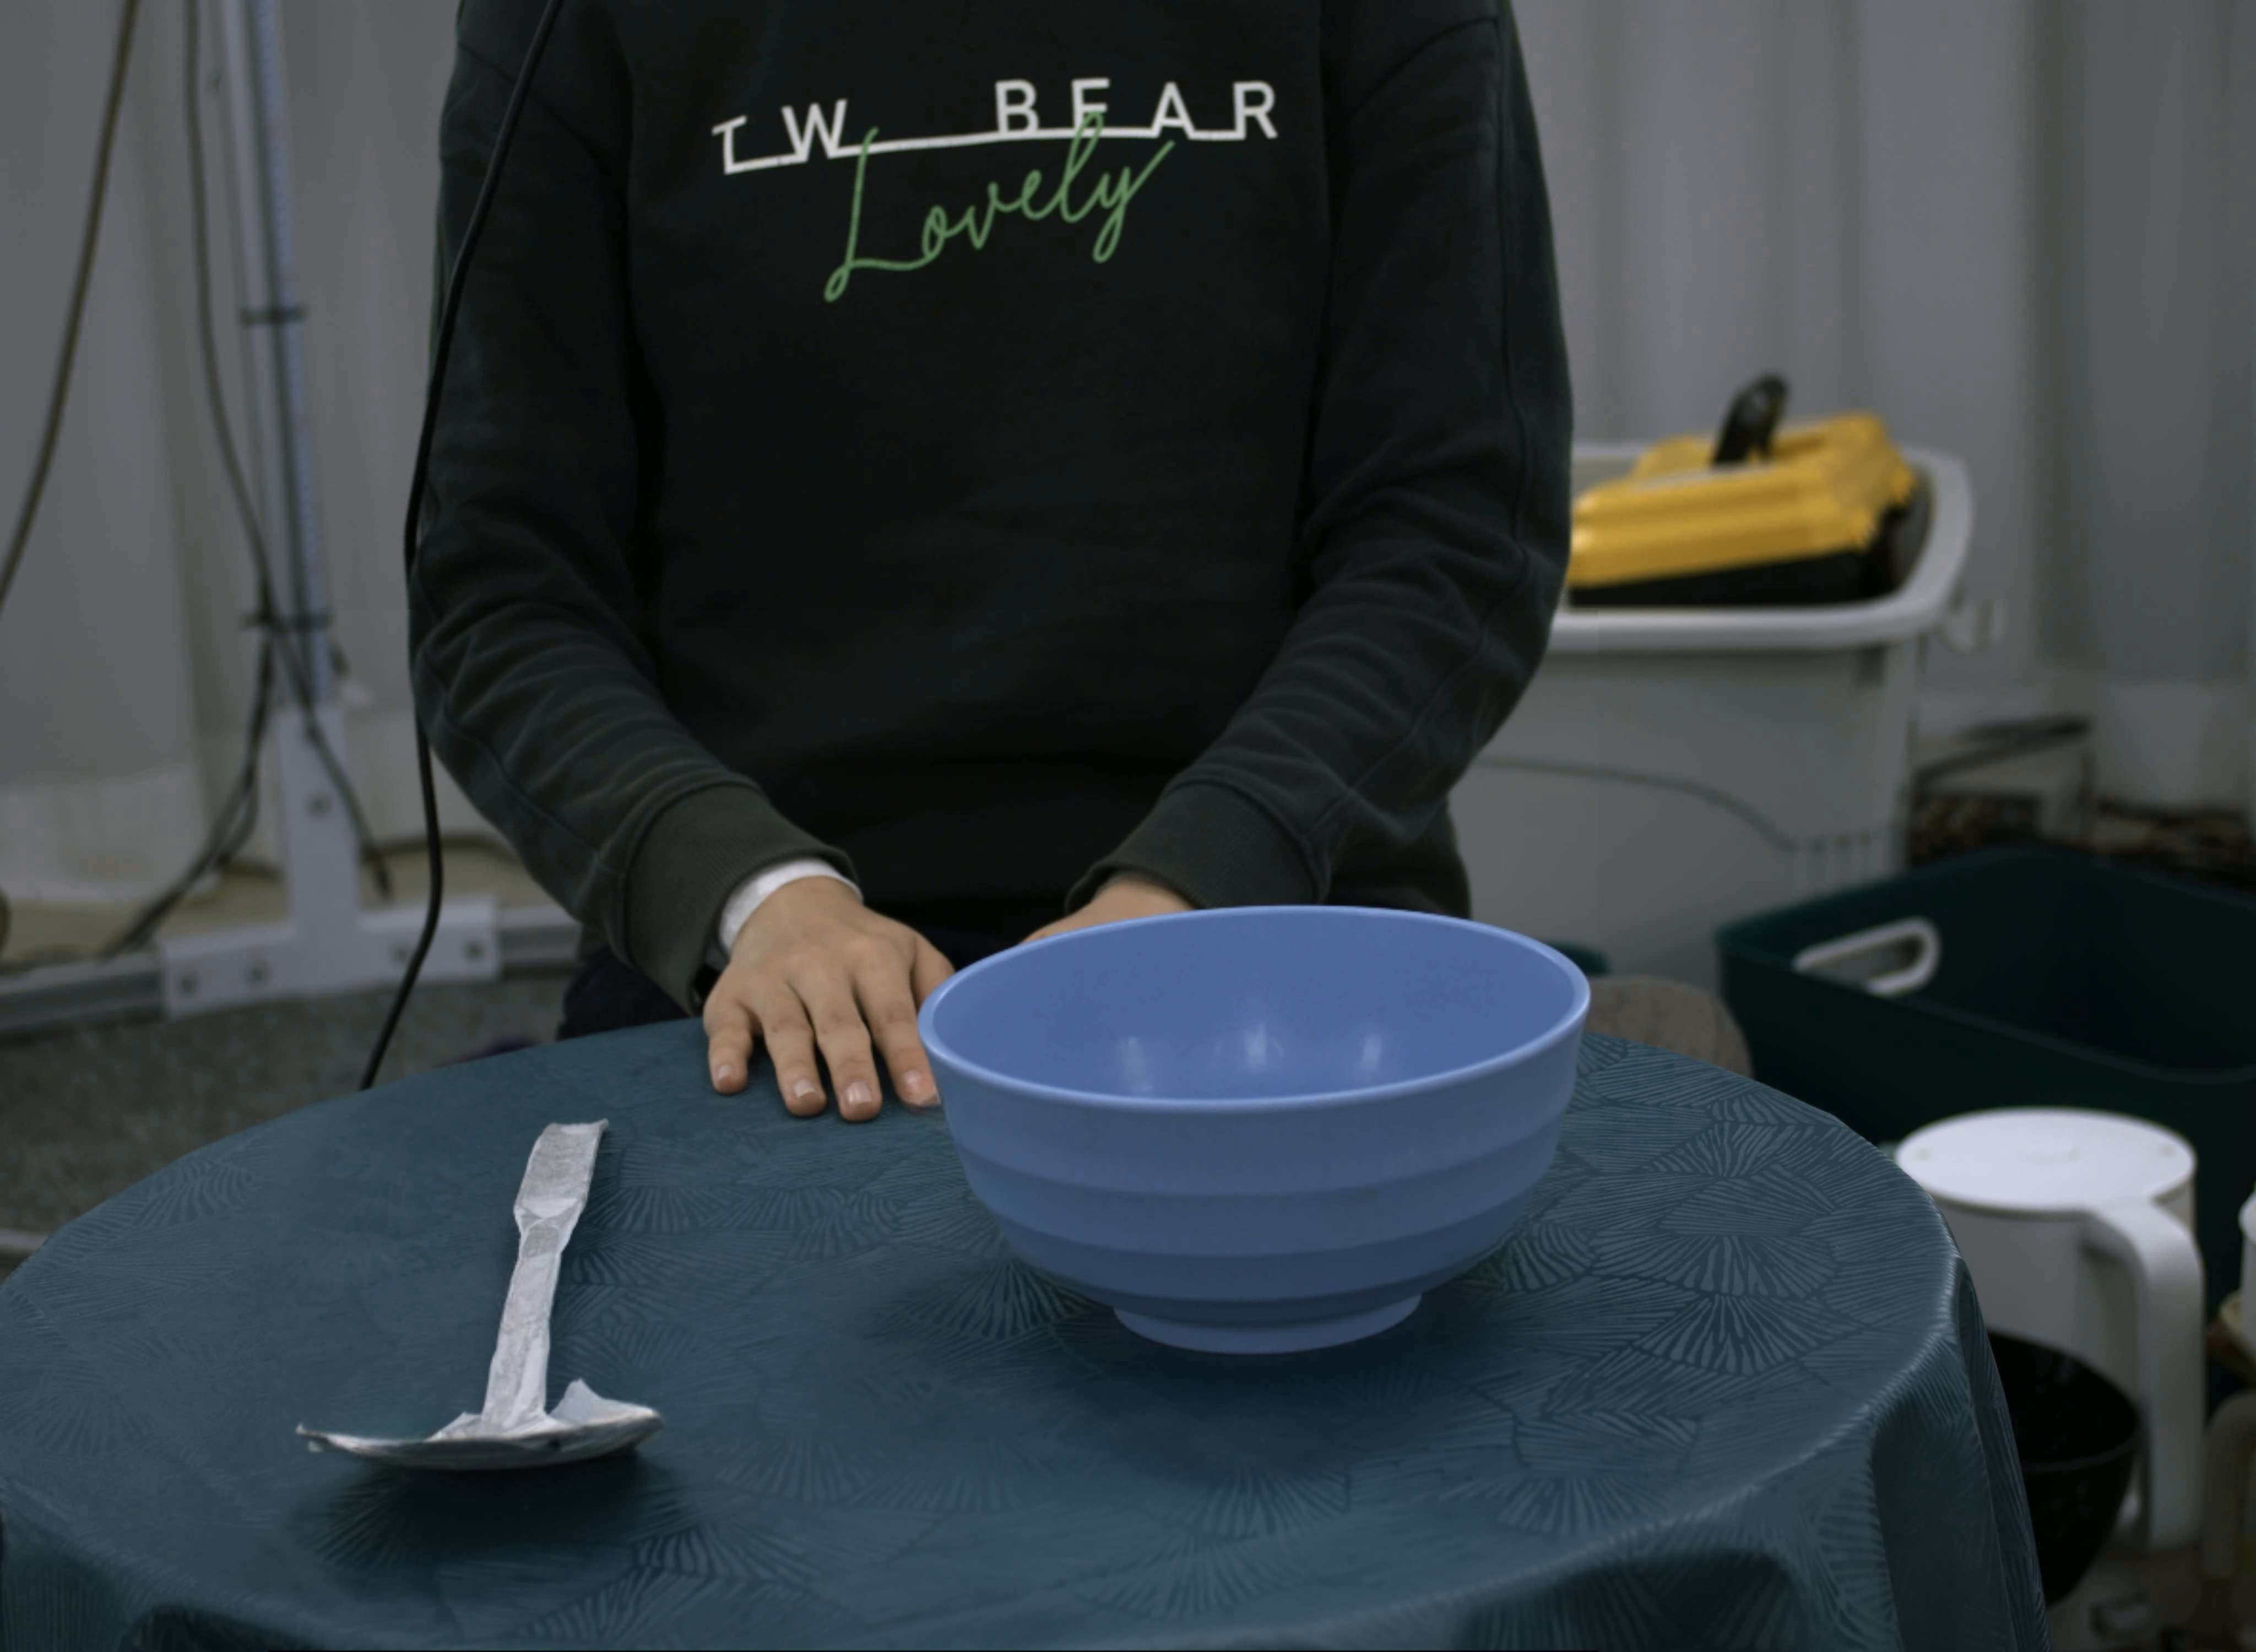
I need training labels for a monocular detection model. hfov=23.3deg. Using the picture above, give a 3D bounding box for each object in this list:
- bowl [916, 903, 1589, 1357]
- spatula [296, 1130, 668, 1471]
[{"bbox_3d":[0.039,0.095,1.599,0.196,0.095,0.198,-4,15,1],"label":"bowl"},{"bbox_3d":[-0.172,0.131,1.611,0.098,0.044,0.367,-4,15,1],"label":"spatula"}]
